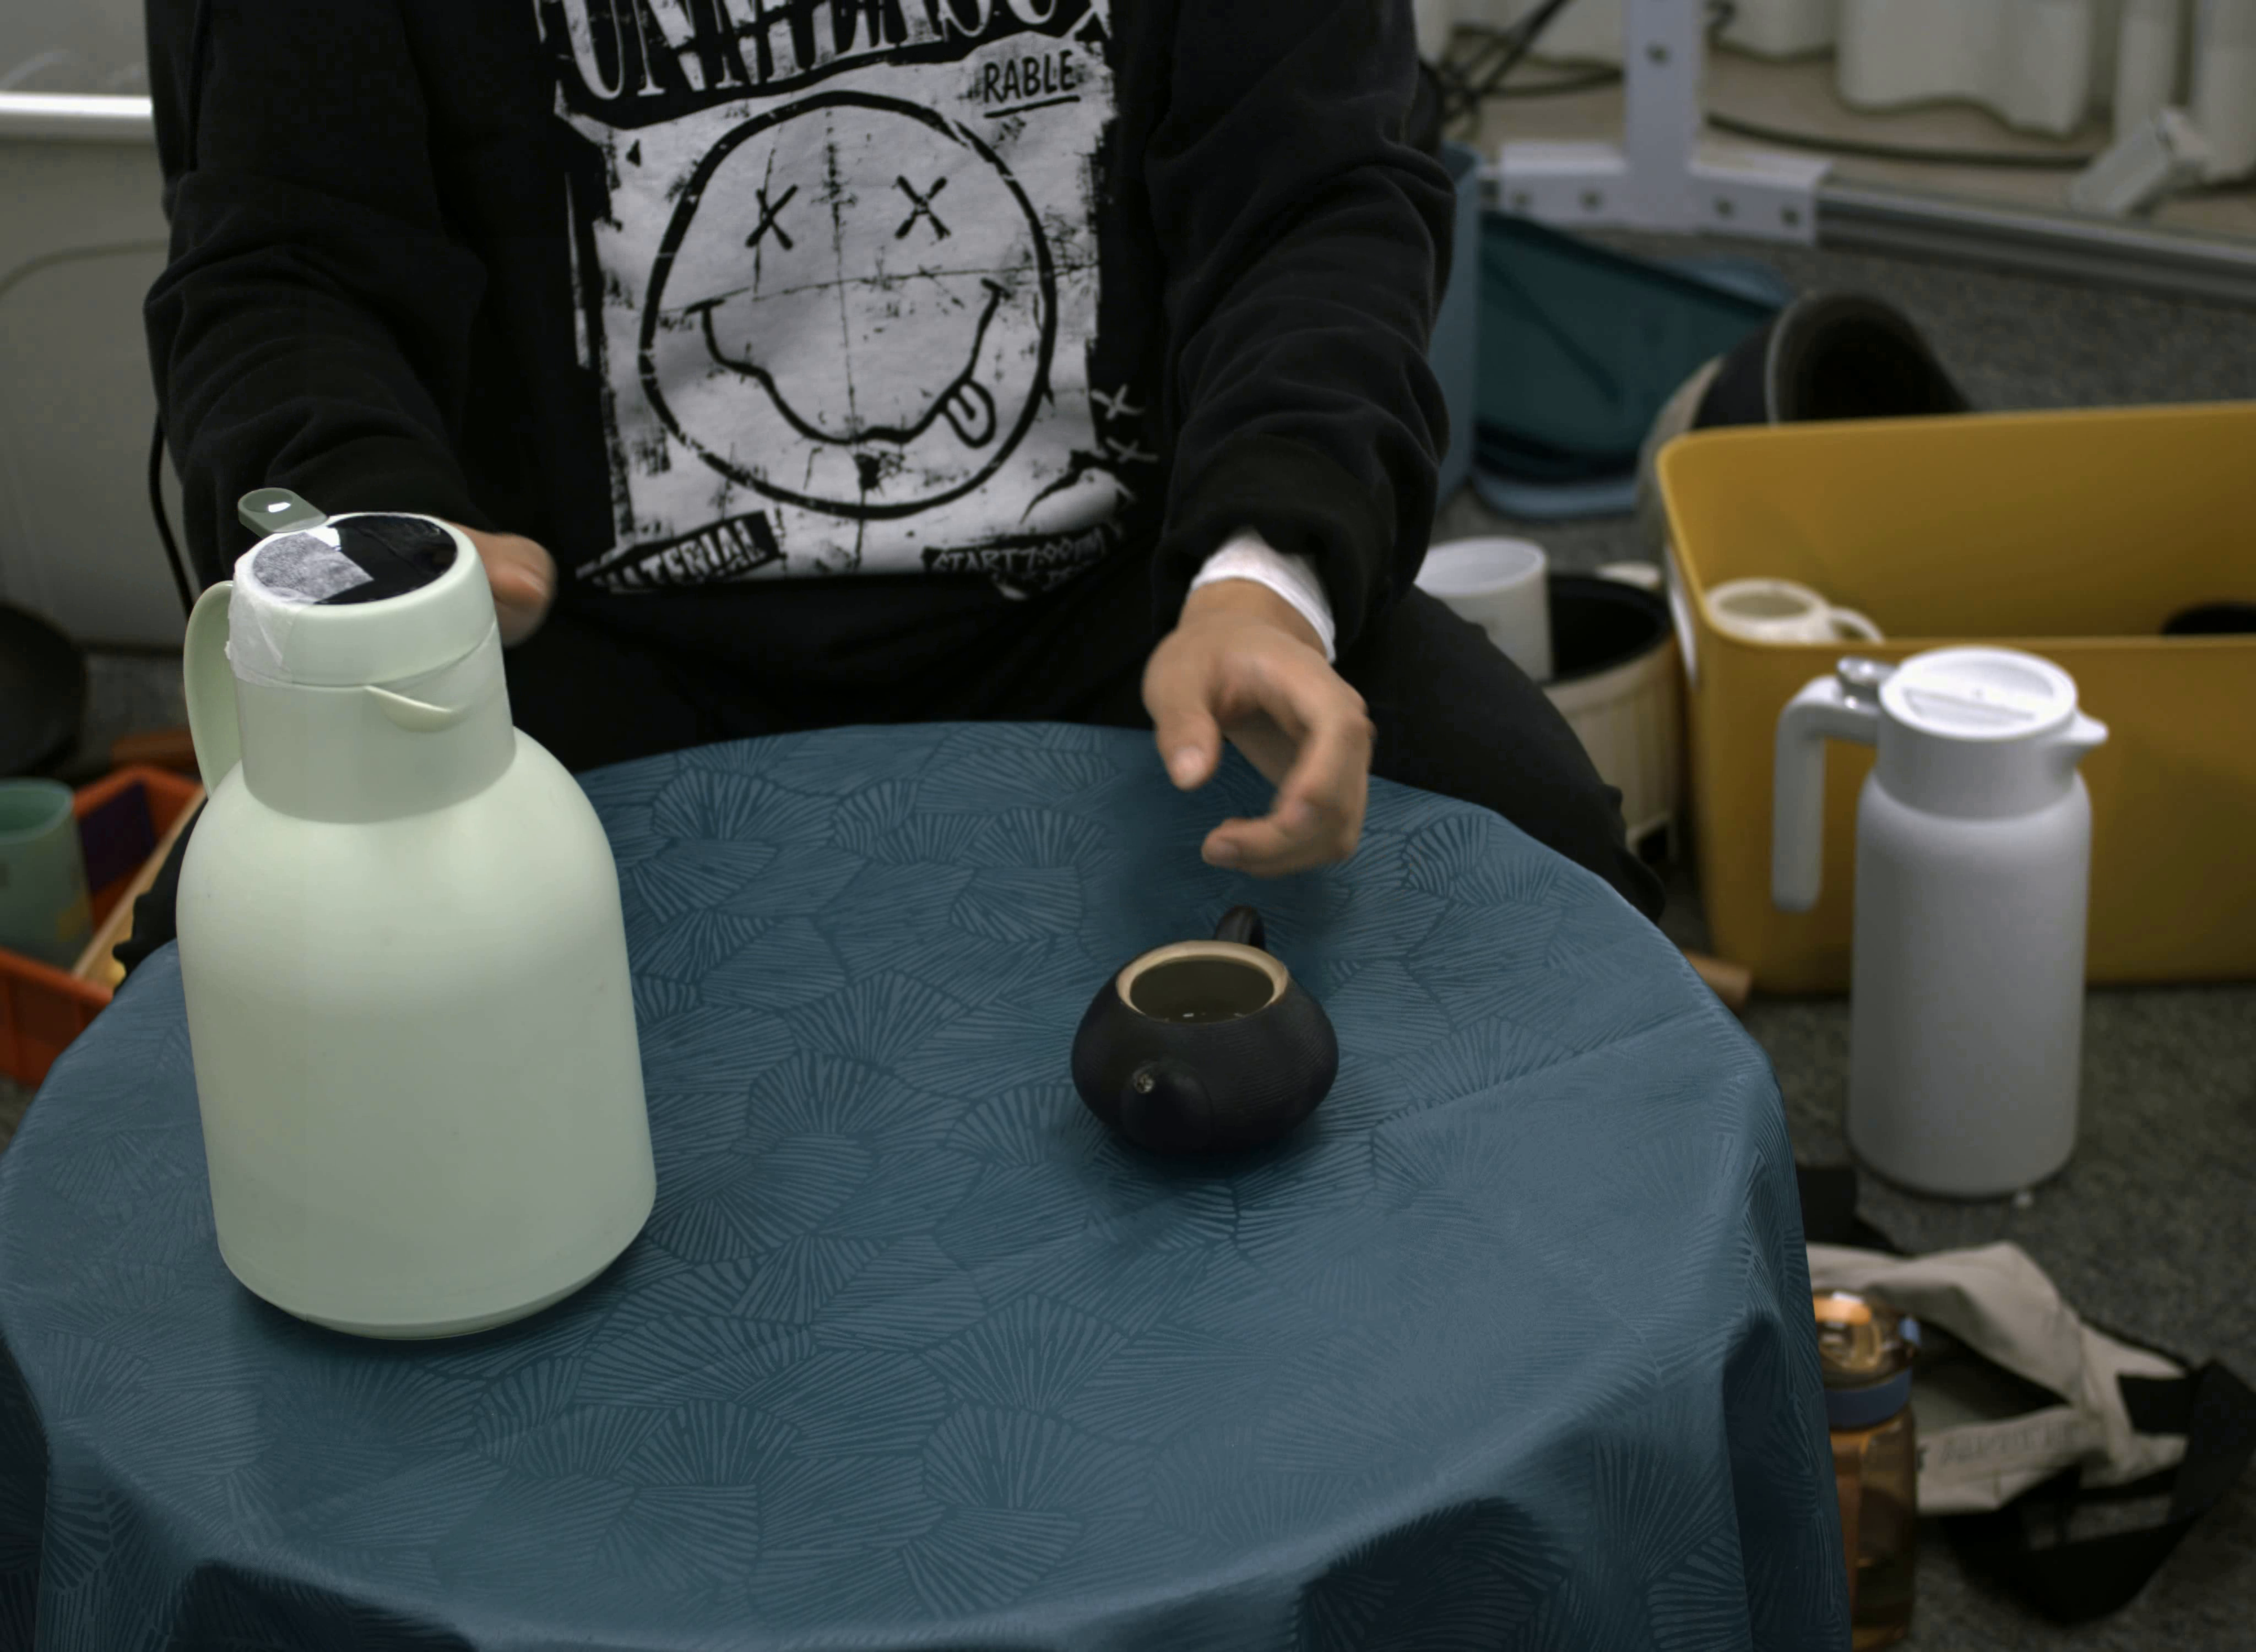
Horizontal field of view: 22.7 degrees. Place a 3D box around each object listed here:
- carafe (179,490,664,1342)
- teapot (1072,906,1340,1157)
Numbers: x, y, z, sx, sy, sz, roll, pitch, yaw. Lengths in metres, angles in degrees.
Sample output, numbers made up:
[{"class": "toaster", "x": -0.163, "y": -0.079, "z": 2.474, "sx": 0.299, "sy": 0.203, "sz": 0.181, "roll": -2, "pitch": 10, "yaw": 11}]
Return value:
[{"class": "carafe", "x": -0.241, "y": 0.022, "z": 1.806, "sx": 0.145, "sy": 0.254, "sz": 0.187, "roll": -22, "pitch": 29, "yaw": -31}, {"class": "teapot", "x": 0.026, "y": 0.075, "z": 1.889, "sx": 0.090, "sy": 0.052, "sz": 0.135, "roll": 7, "pitch": 29, "yaw": 15}]
